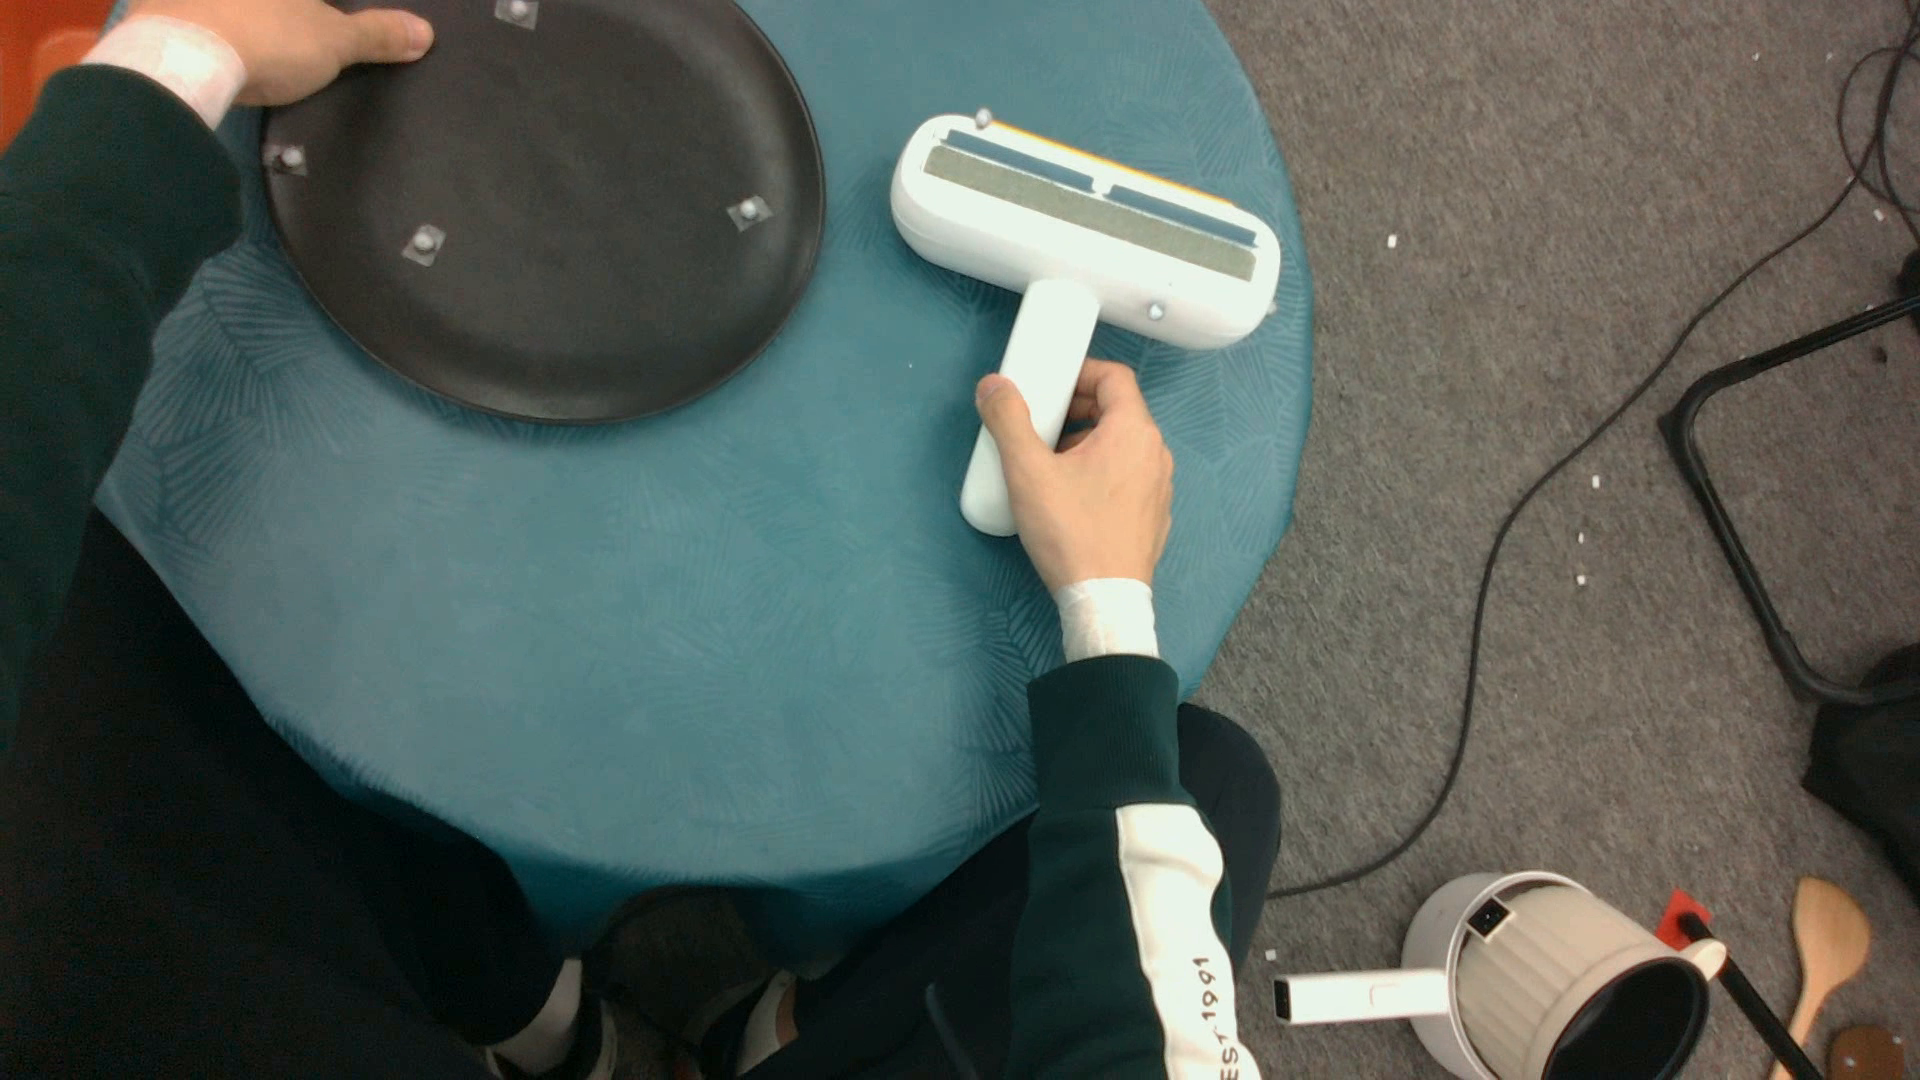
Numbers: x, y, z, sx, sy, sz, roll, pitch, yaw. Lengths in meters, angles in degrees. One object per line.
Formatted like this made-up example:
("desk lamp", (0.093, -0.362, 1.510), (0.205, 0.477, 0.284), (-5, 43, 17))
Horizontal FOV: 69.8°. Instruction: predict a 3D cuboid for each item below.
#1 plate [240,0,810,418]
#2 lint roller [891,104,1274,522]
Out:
("plate", (-0.189, -0.171, 0.624), (0.245, 0.023, 0.245), (4, 79, -19))
("lint roller", (0.037, -0.100, 0.682), (0.193, 0.074, 0.192), (22, 87, -4))
